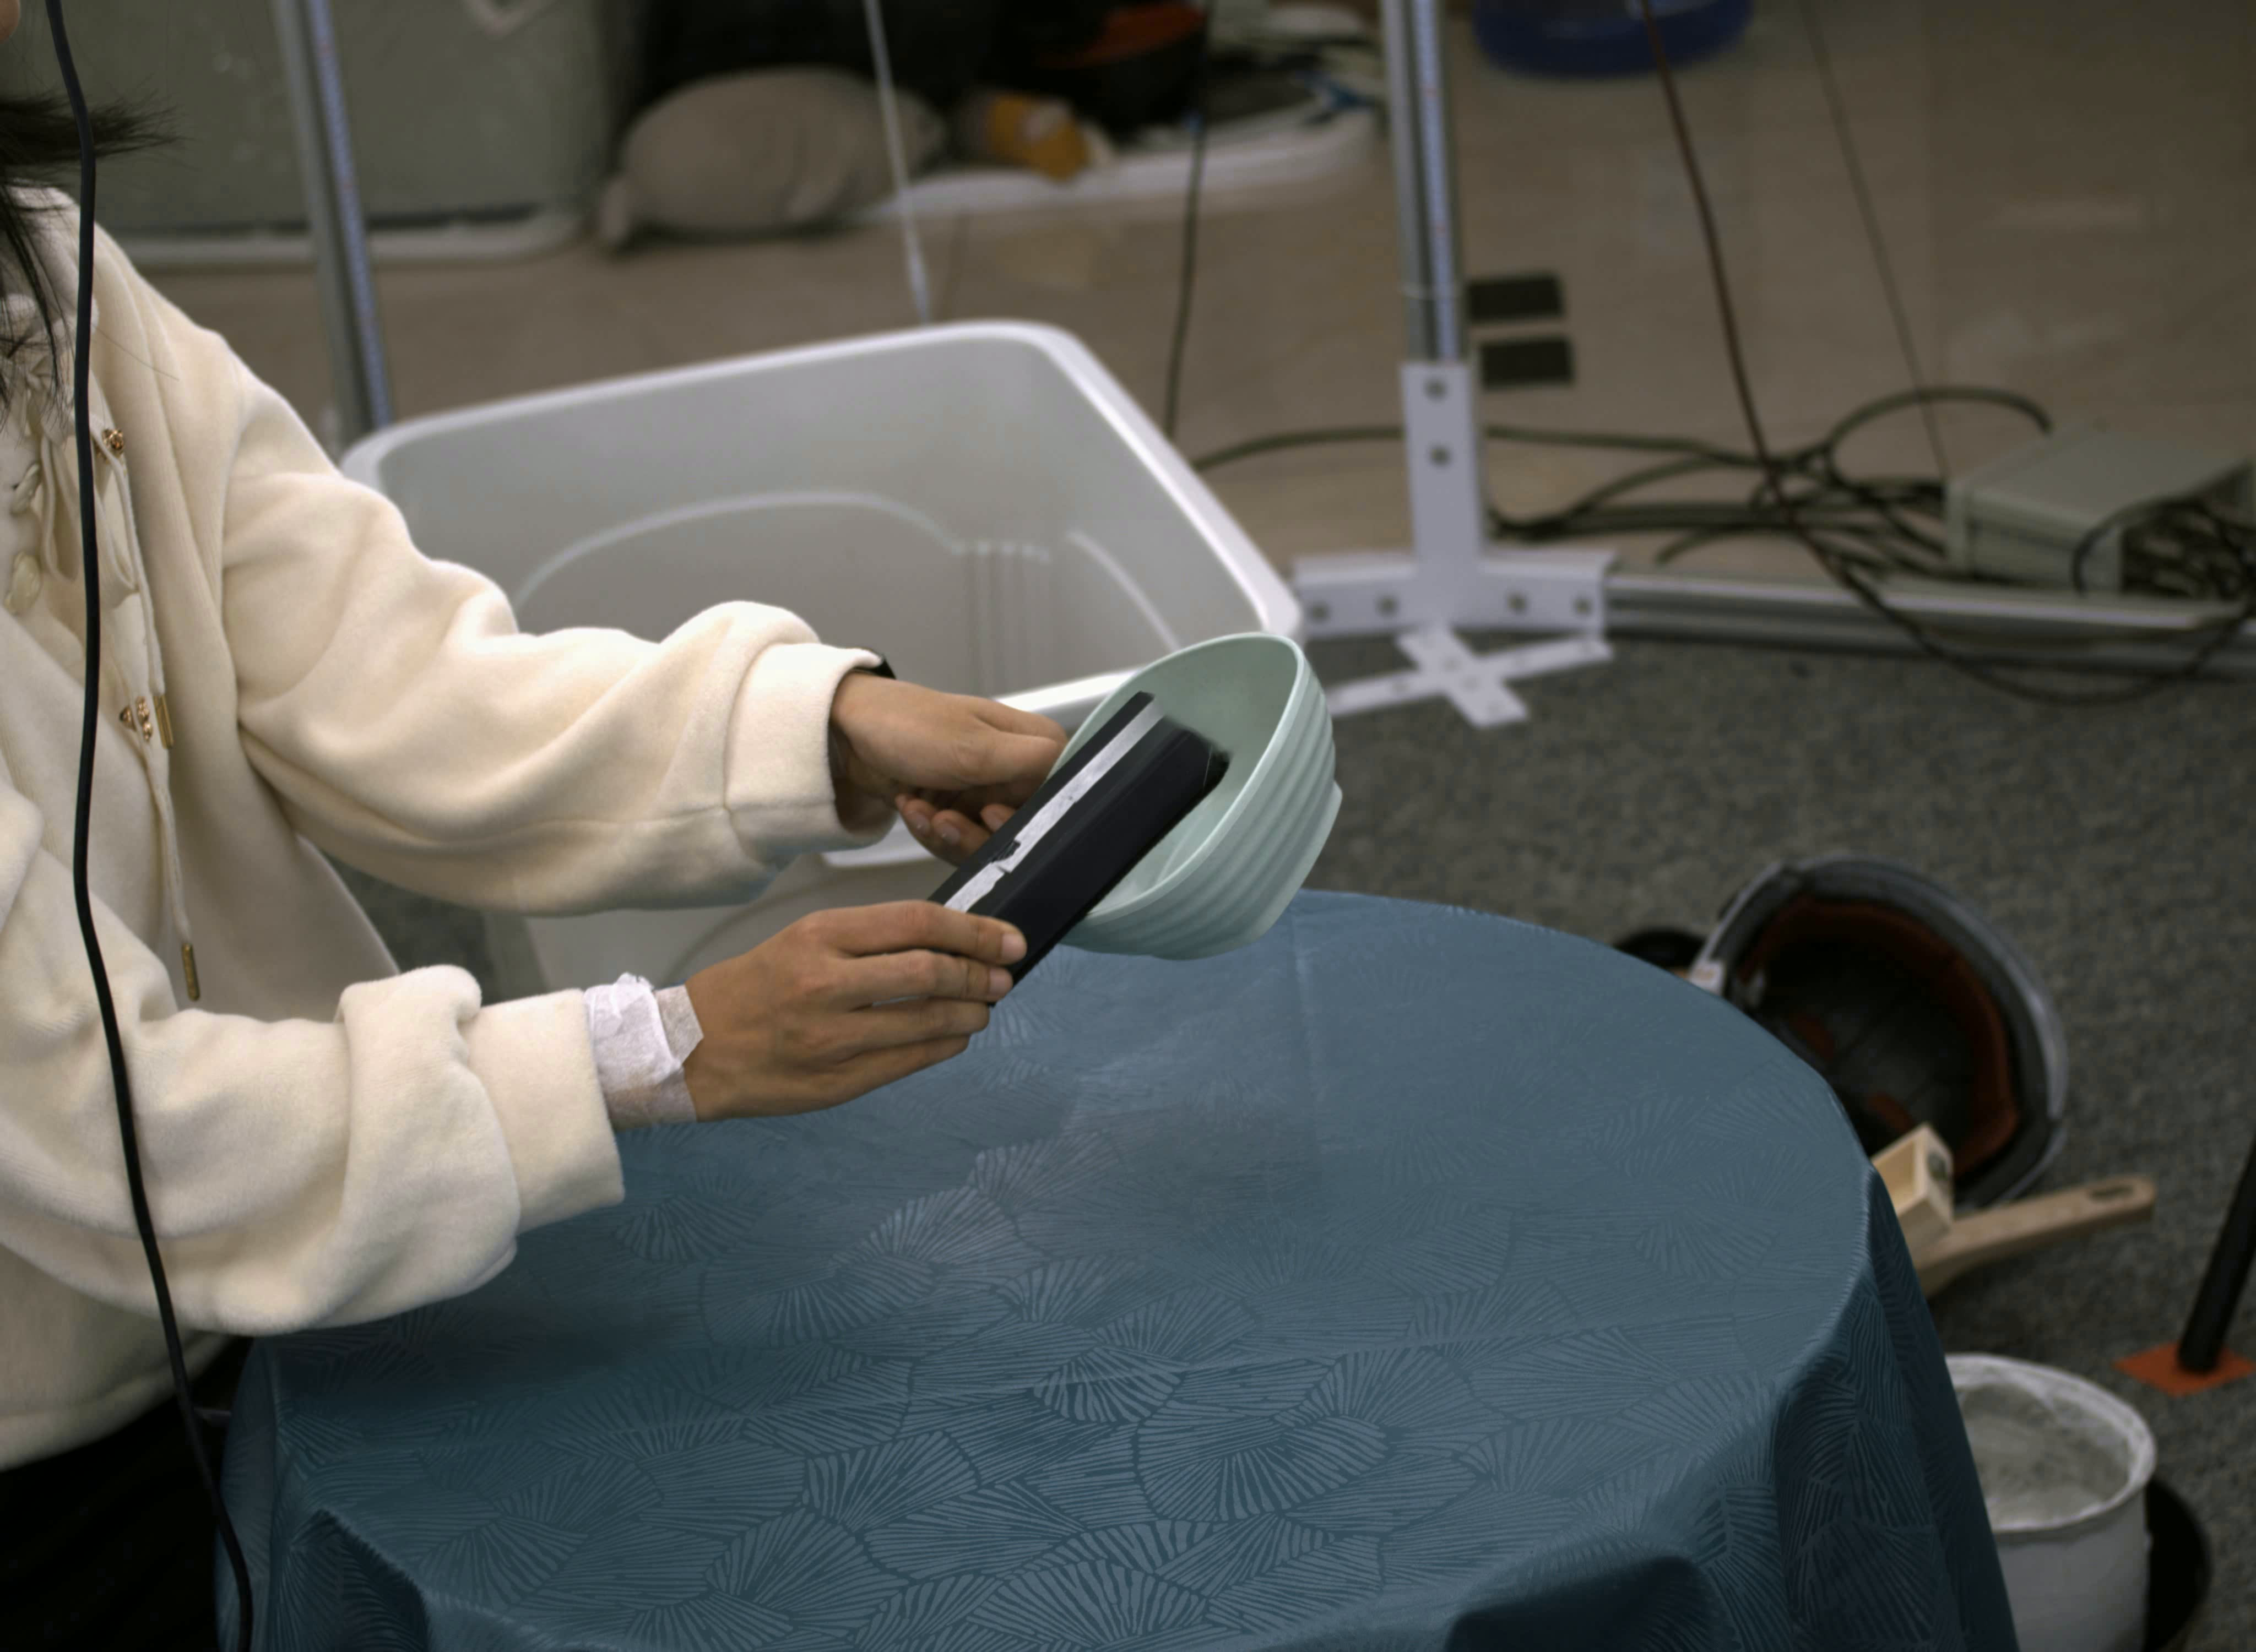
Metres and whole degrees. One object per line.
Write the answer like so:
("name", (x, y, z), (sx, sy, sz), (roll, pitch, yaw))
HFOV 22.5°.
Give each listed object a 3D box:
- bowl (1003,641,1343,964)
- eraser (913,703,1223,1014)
("bowl", (0.025, 0.001, 2.111), (0.152, 0.059, 0.149), (-33, 28, 21))
("eraser", (-0.022, 0.010, 2.073), (0.125, 0.031, 0.053), (-47, 27, -4))
